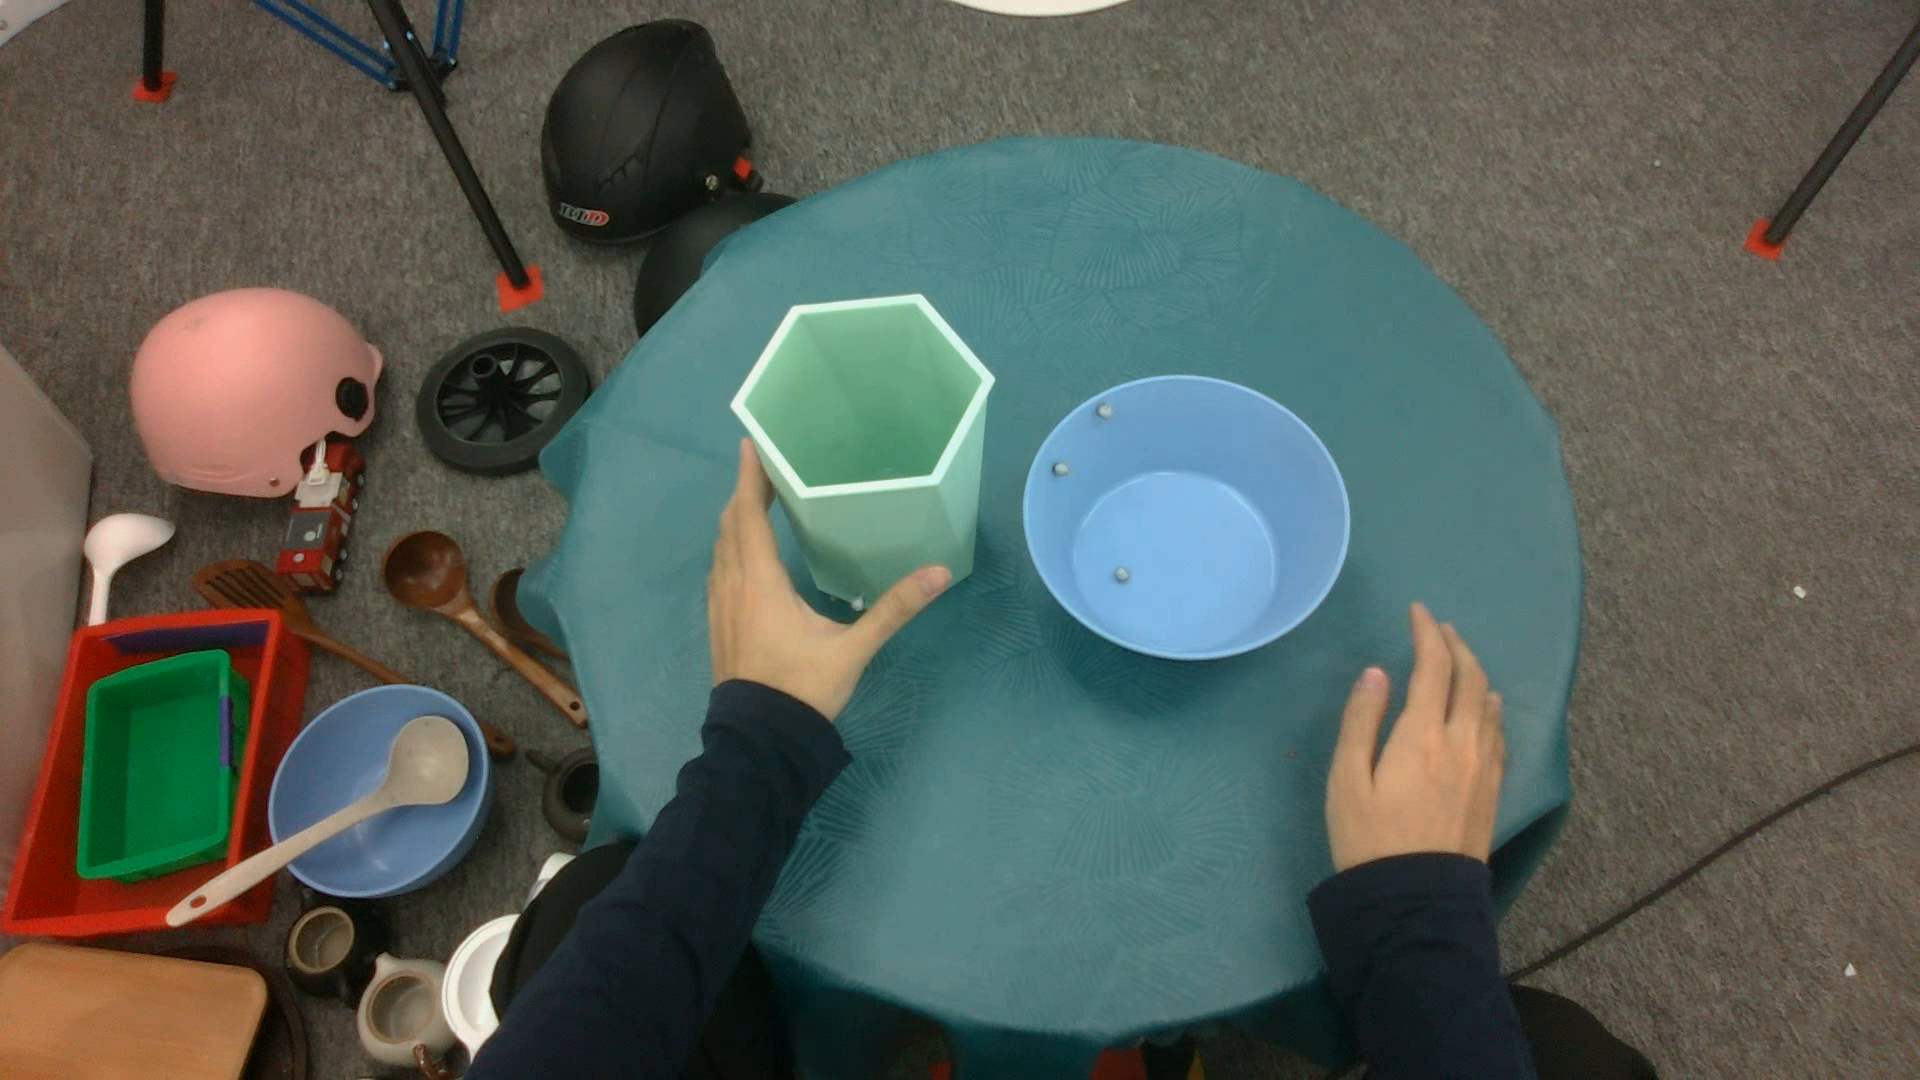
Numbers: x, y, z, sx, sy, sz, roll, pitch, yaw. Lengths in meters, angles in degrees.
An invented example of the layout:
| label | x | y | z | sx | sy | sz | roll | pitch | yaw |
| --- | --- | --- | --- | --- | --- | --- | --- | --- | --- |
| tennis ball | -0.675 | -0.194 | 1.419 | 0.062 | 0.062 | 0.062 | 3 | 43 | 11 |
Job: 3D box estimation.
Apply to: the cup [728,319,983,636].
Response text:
| label | x | y | z | sx | sy | sz | roll | pitch | yaw |
| --- | --- | --- | --- | --- | --- | --- | --- | --- | --- |
| cup | -0.047 | -0.025 | 0.762 | 0.131 | 0.162 | 0.115 | -10 | 63 | 0 |

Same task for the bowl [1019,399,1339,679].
| label | x | y | z | sx | sy | sz | roll | pitch | yaw |
| --- | --- | --- | --- | --- | --- | --- | --- | --- | --- |
| bowl | 0.122 | 0.010 | 0.786 | 0.176 | 0.070 | 0.177 | -1 | 61 | 3 |
